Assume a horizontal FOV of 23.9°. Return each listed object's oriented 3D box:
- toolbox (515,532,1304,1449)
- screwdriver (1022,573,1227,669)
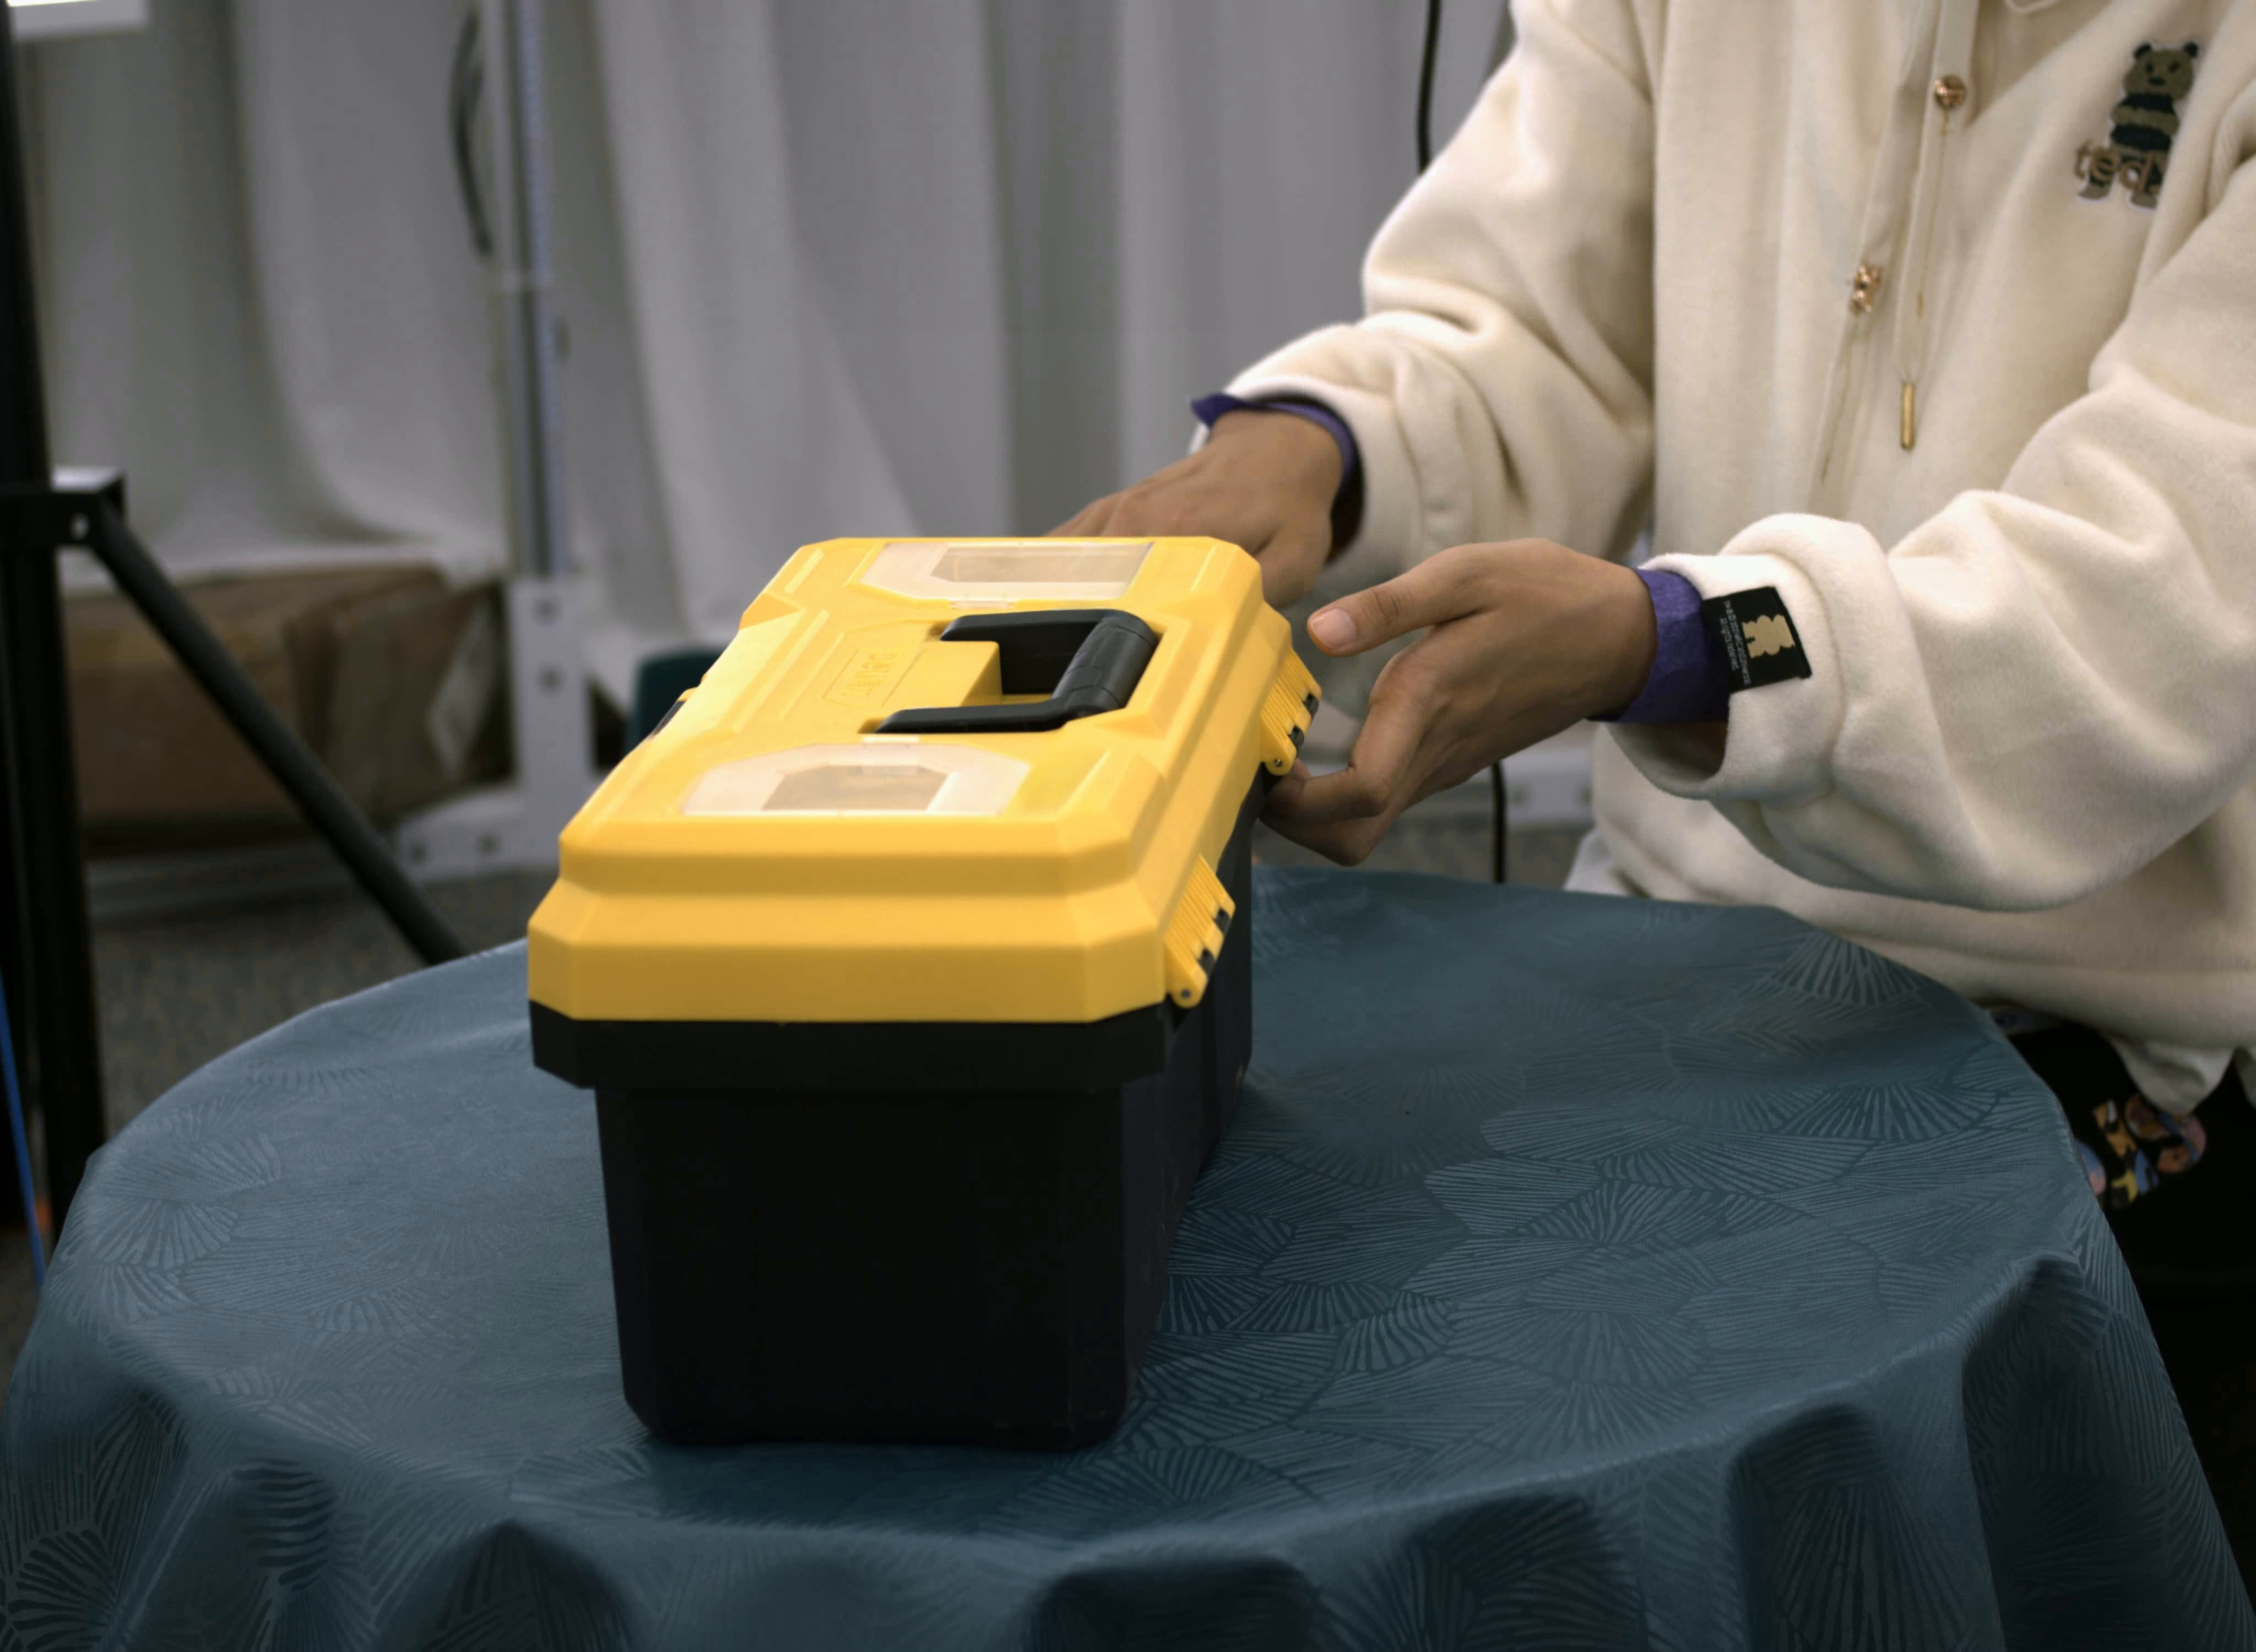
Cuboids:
[{"bbox_3d":[-0.049,0.036,1.501,0.182,0.173,0.350,0,16,9],"label":"toolbox"},{"bbox_3d":[-0.005,-0.074,1.734,0.032,0.031,0.193,4,-4,19],"label":"screwdriver"}]
